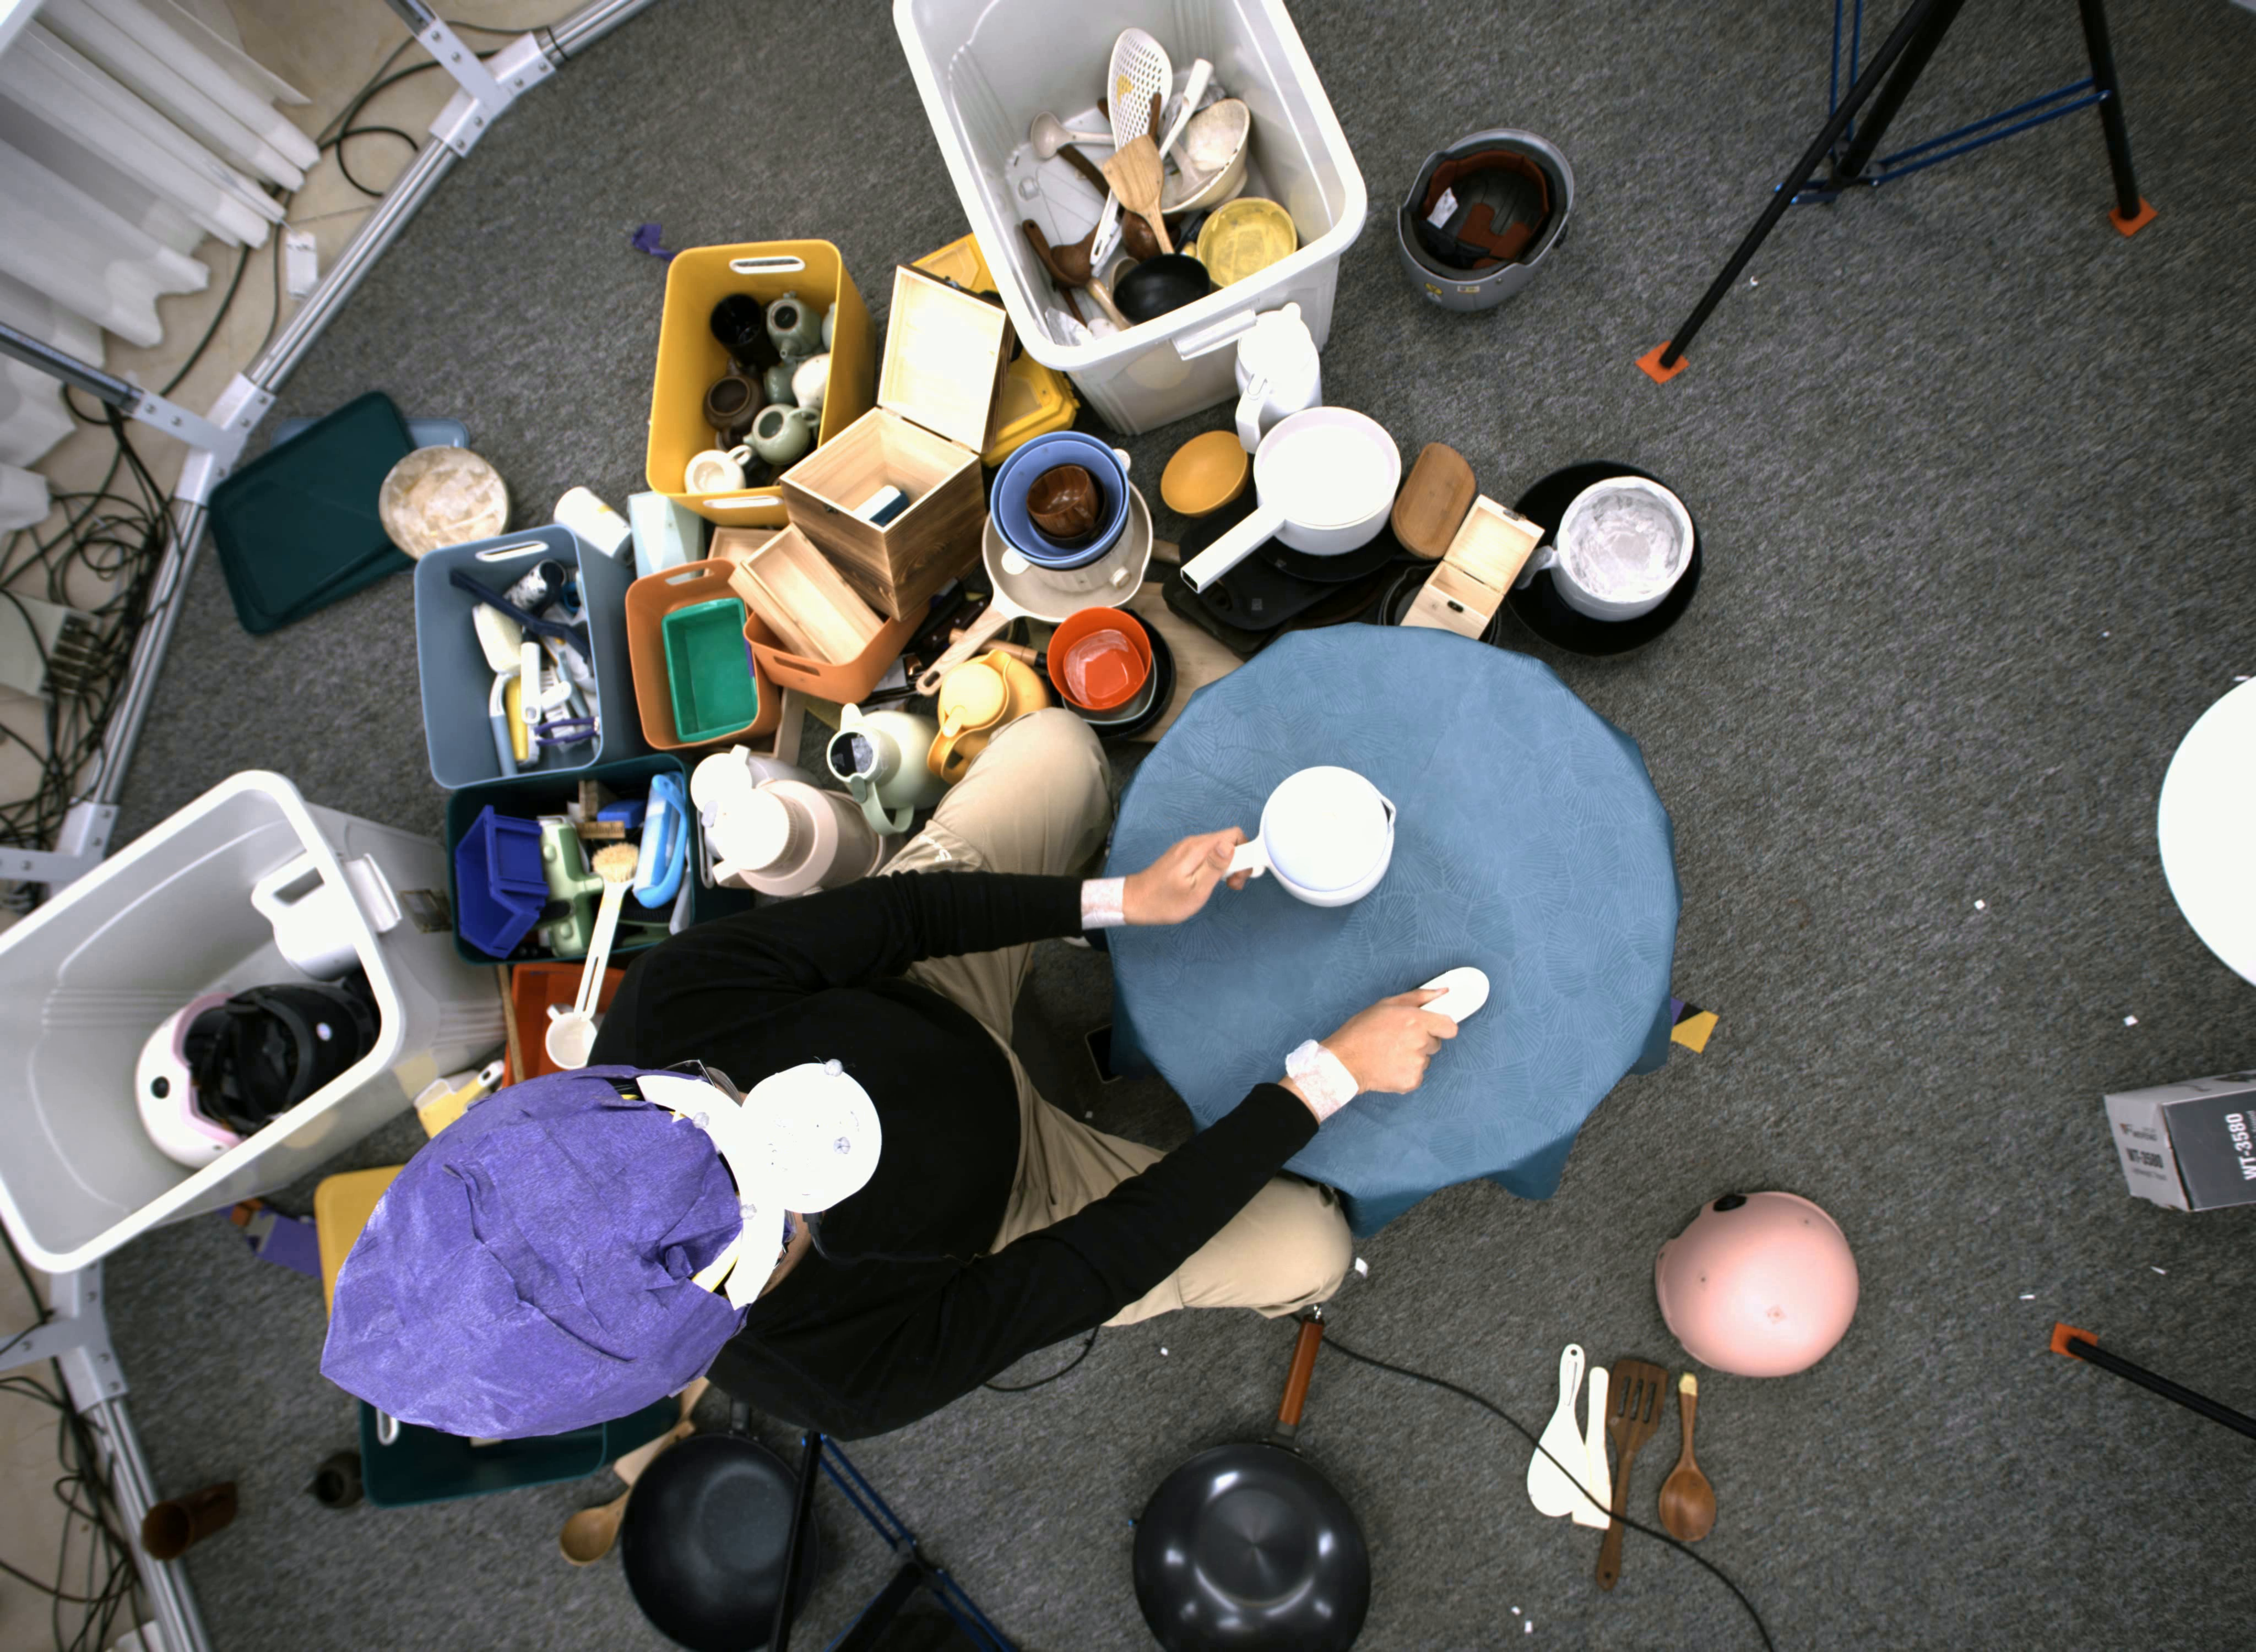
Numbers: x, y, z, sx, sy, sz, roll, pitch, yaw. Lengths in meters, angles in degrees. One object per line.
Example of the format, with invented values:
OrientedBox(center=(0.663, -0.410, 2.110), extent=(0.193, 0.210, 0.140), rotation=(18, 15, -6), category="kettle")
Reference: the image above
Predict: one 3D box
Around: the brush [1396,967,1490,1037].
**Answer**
OrientedBox(center=(0.321, 0.179, 1.406), extent=(0.099, 0.072, 0.050), rotation=(-29, 84, 6), category="brush")

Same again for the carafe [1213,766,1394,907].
OrientedBox(center=(0.176, 0.019, 1.394), extent=(0.192, 0.183, 0.131), rotation=(-18, 82, 10), category="carafe")
